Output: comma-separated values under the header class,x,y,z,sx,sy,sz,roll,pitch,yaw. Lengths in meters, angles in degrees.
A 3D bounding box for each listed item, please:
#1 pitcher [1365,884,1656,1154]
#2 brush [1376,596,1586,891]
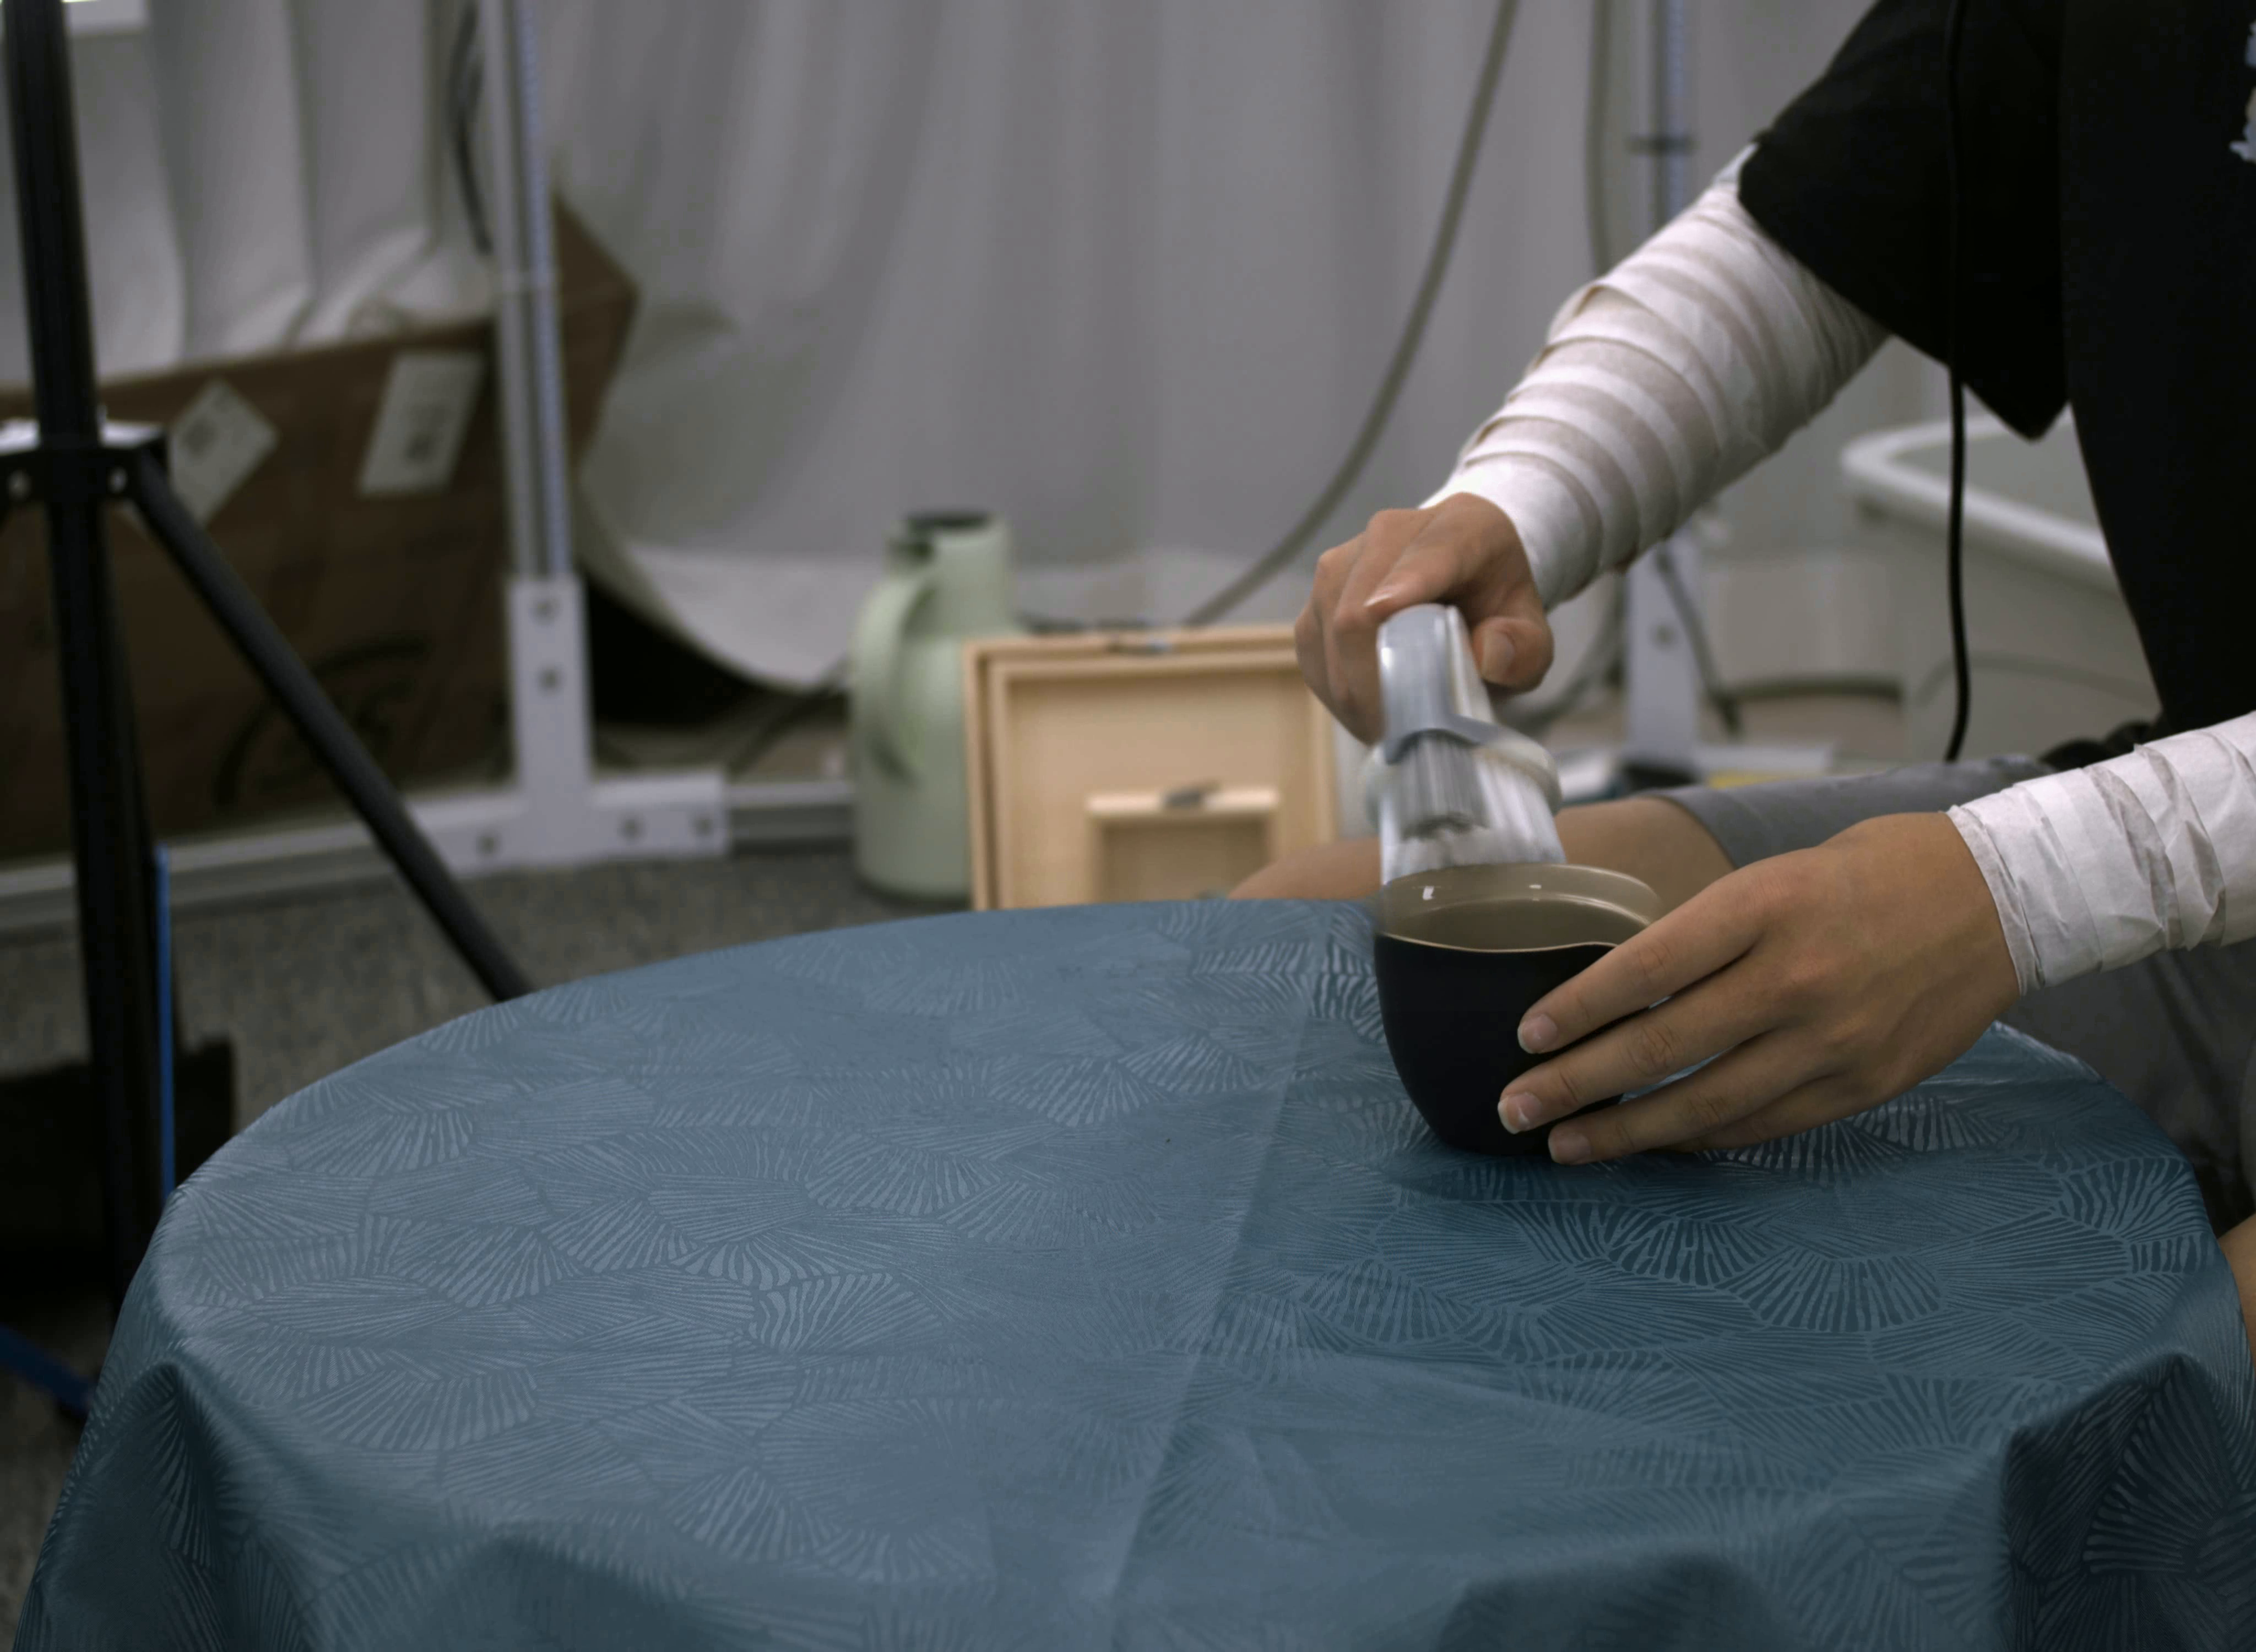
class,x,y,z,sx,sy,sz,roll,pitch,yaw
pitcher,0.116,0.058,1.586,0.082,0.071,0.098,-15,22,-43
brush,0.103,-0.028,1.648,0.061,0.095,0.174,-16,-10,6
